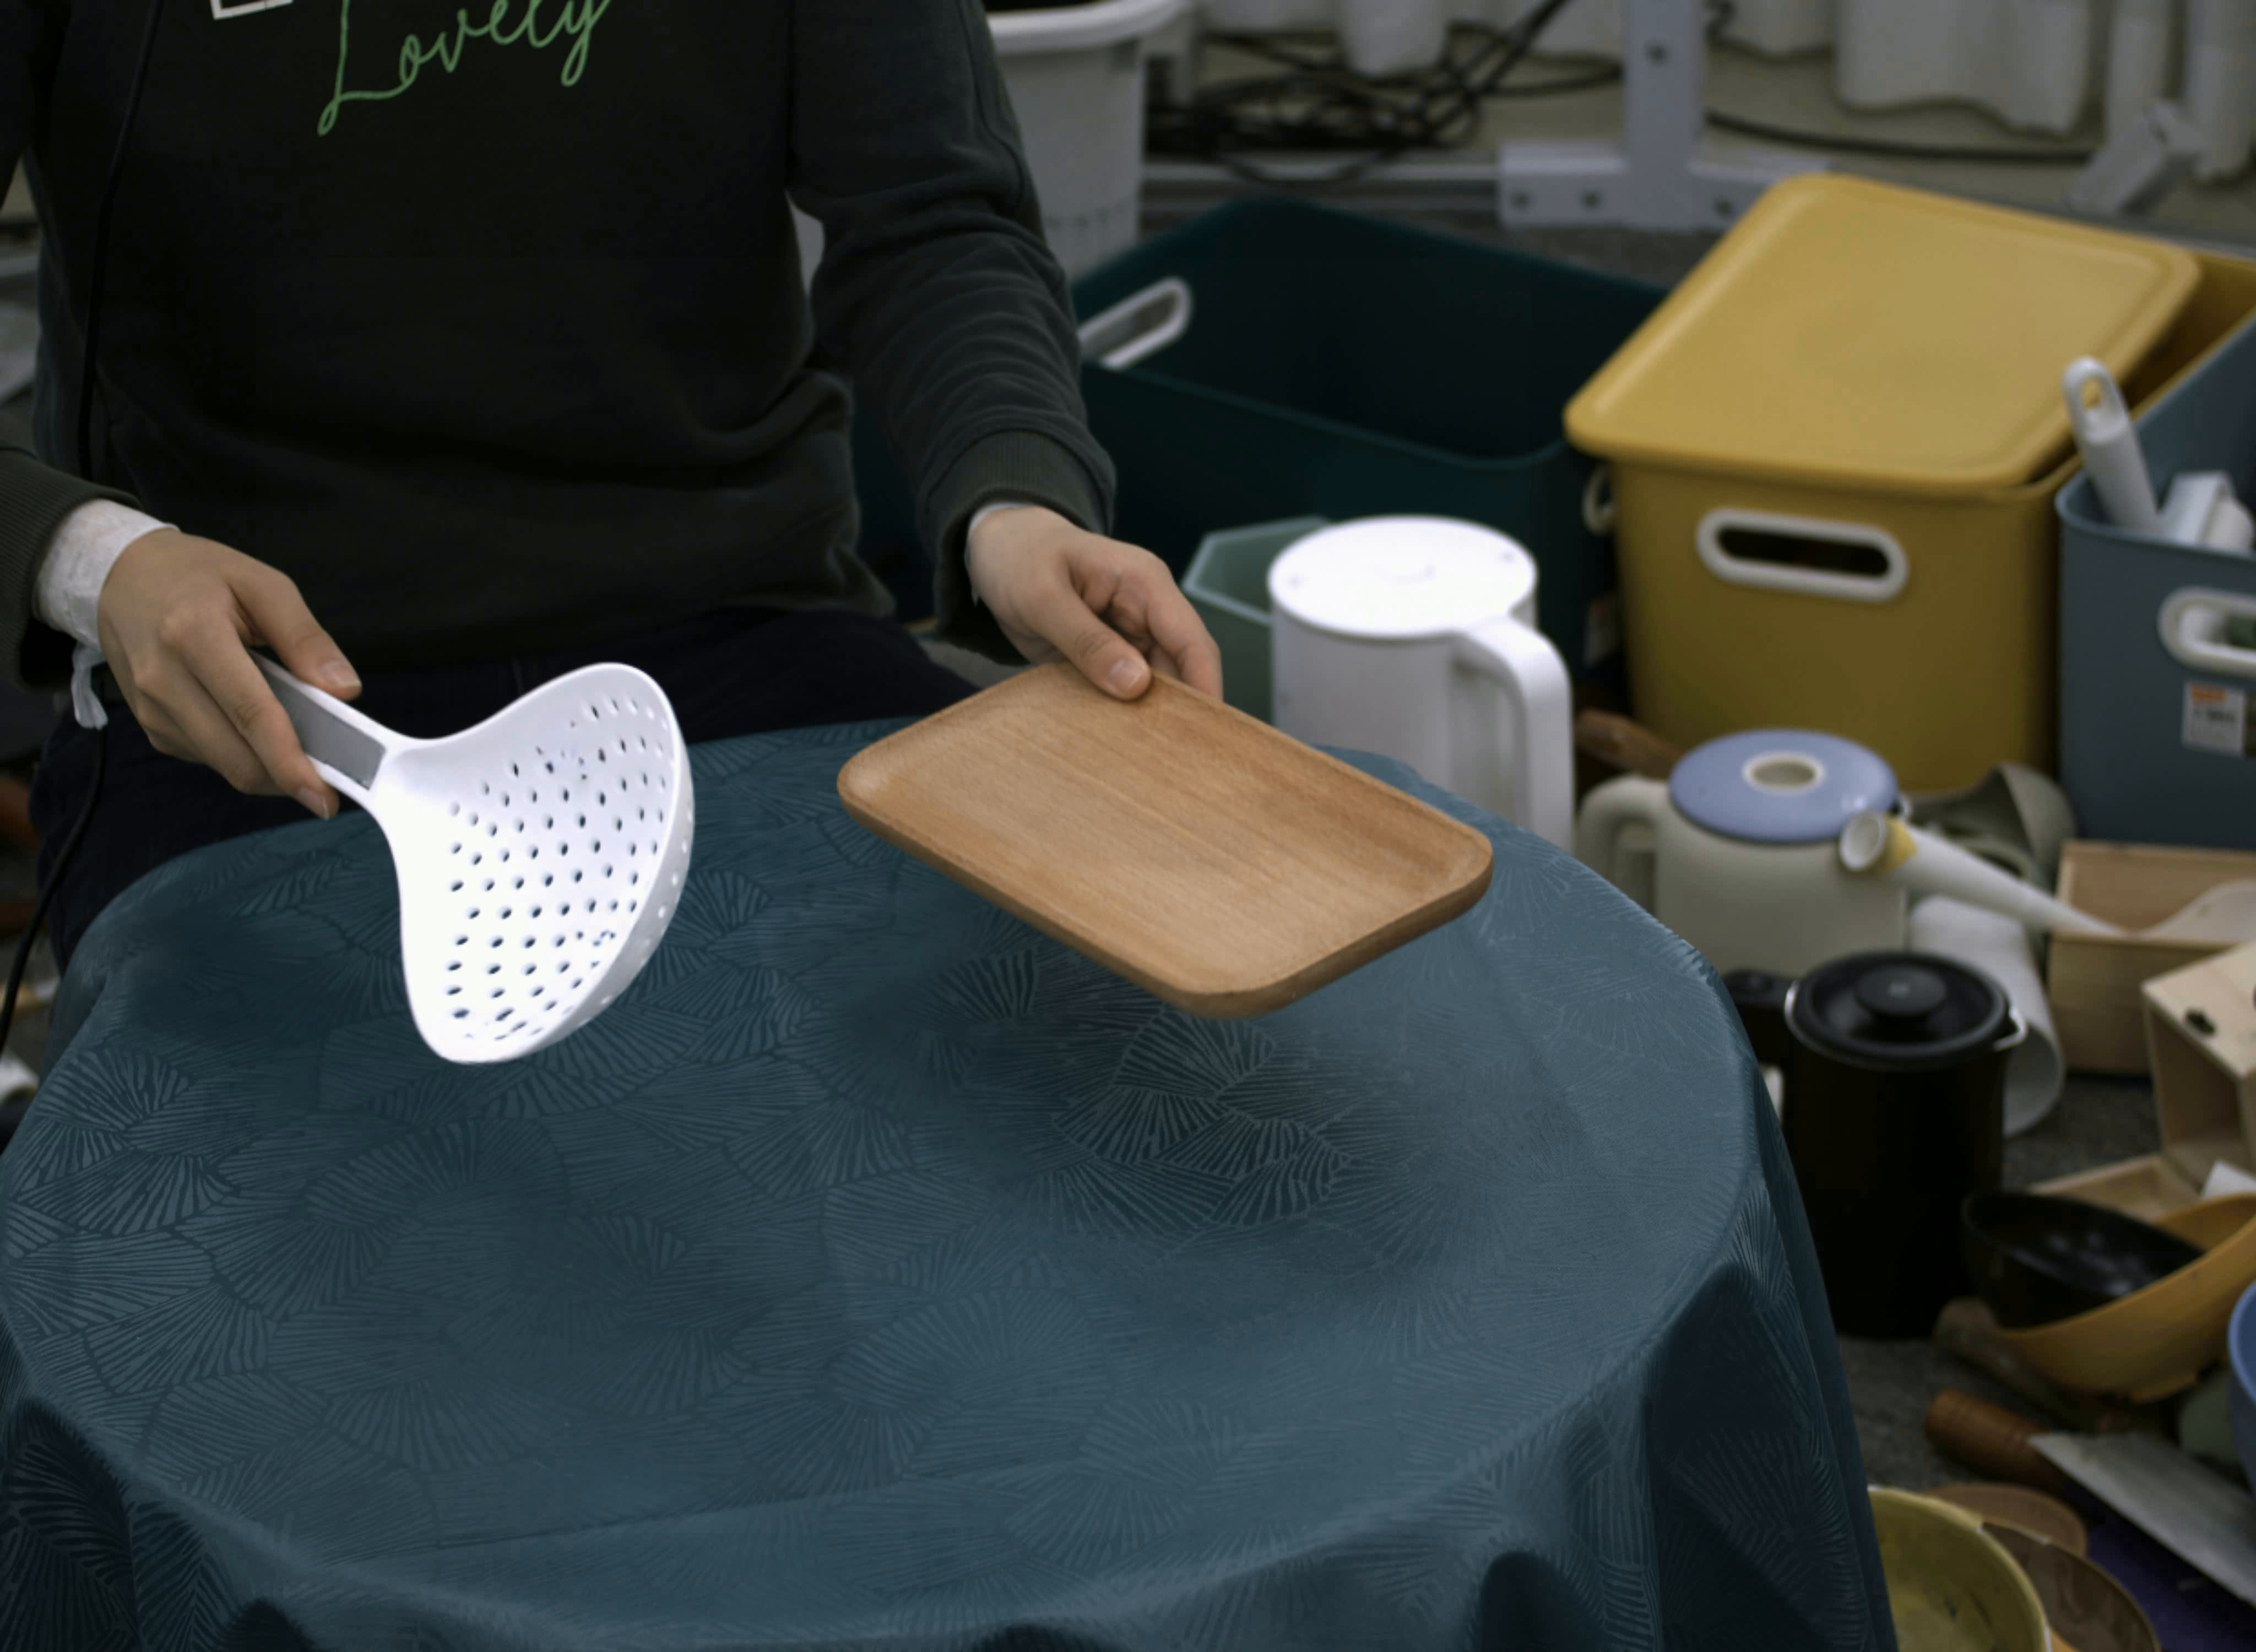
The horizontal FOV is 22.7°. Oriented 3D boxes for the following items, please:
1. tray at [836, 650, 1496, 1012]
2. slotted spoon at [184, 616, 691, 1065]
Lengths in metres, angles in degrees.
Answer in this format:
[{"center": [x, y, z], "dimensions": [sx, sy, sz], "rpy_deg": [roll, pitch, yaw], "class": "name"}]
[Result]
[{"center": [0.010, -0.001, 1.900], "dimensions": [0.132, 0.022, 0.251], "rpy_deg": [-23, 29, -27], "class": "tray"}, {"center": [-0.236, -0.014, 1.853], "dimensions": [0.045, 0.136, 0.350], "rpy_deg": [27, -1, -40], "class": "slotted spoon"}]
